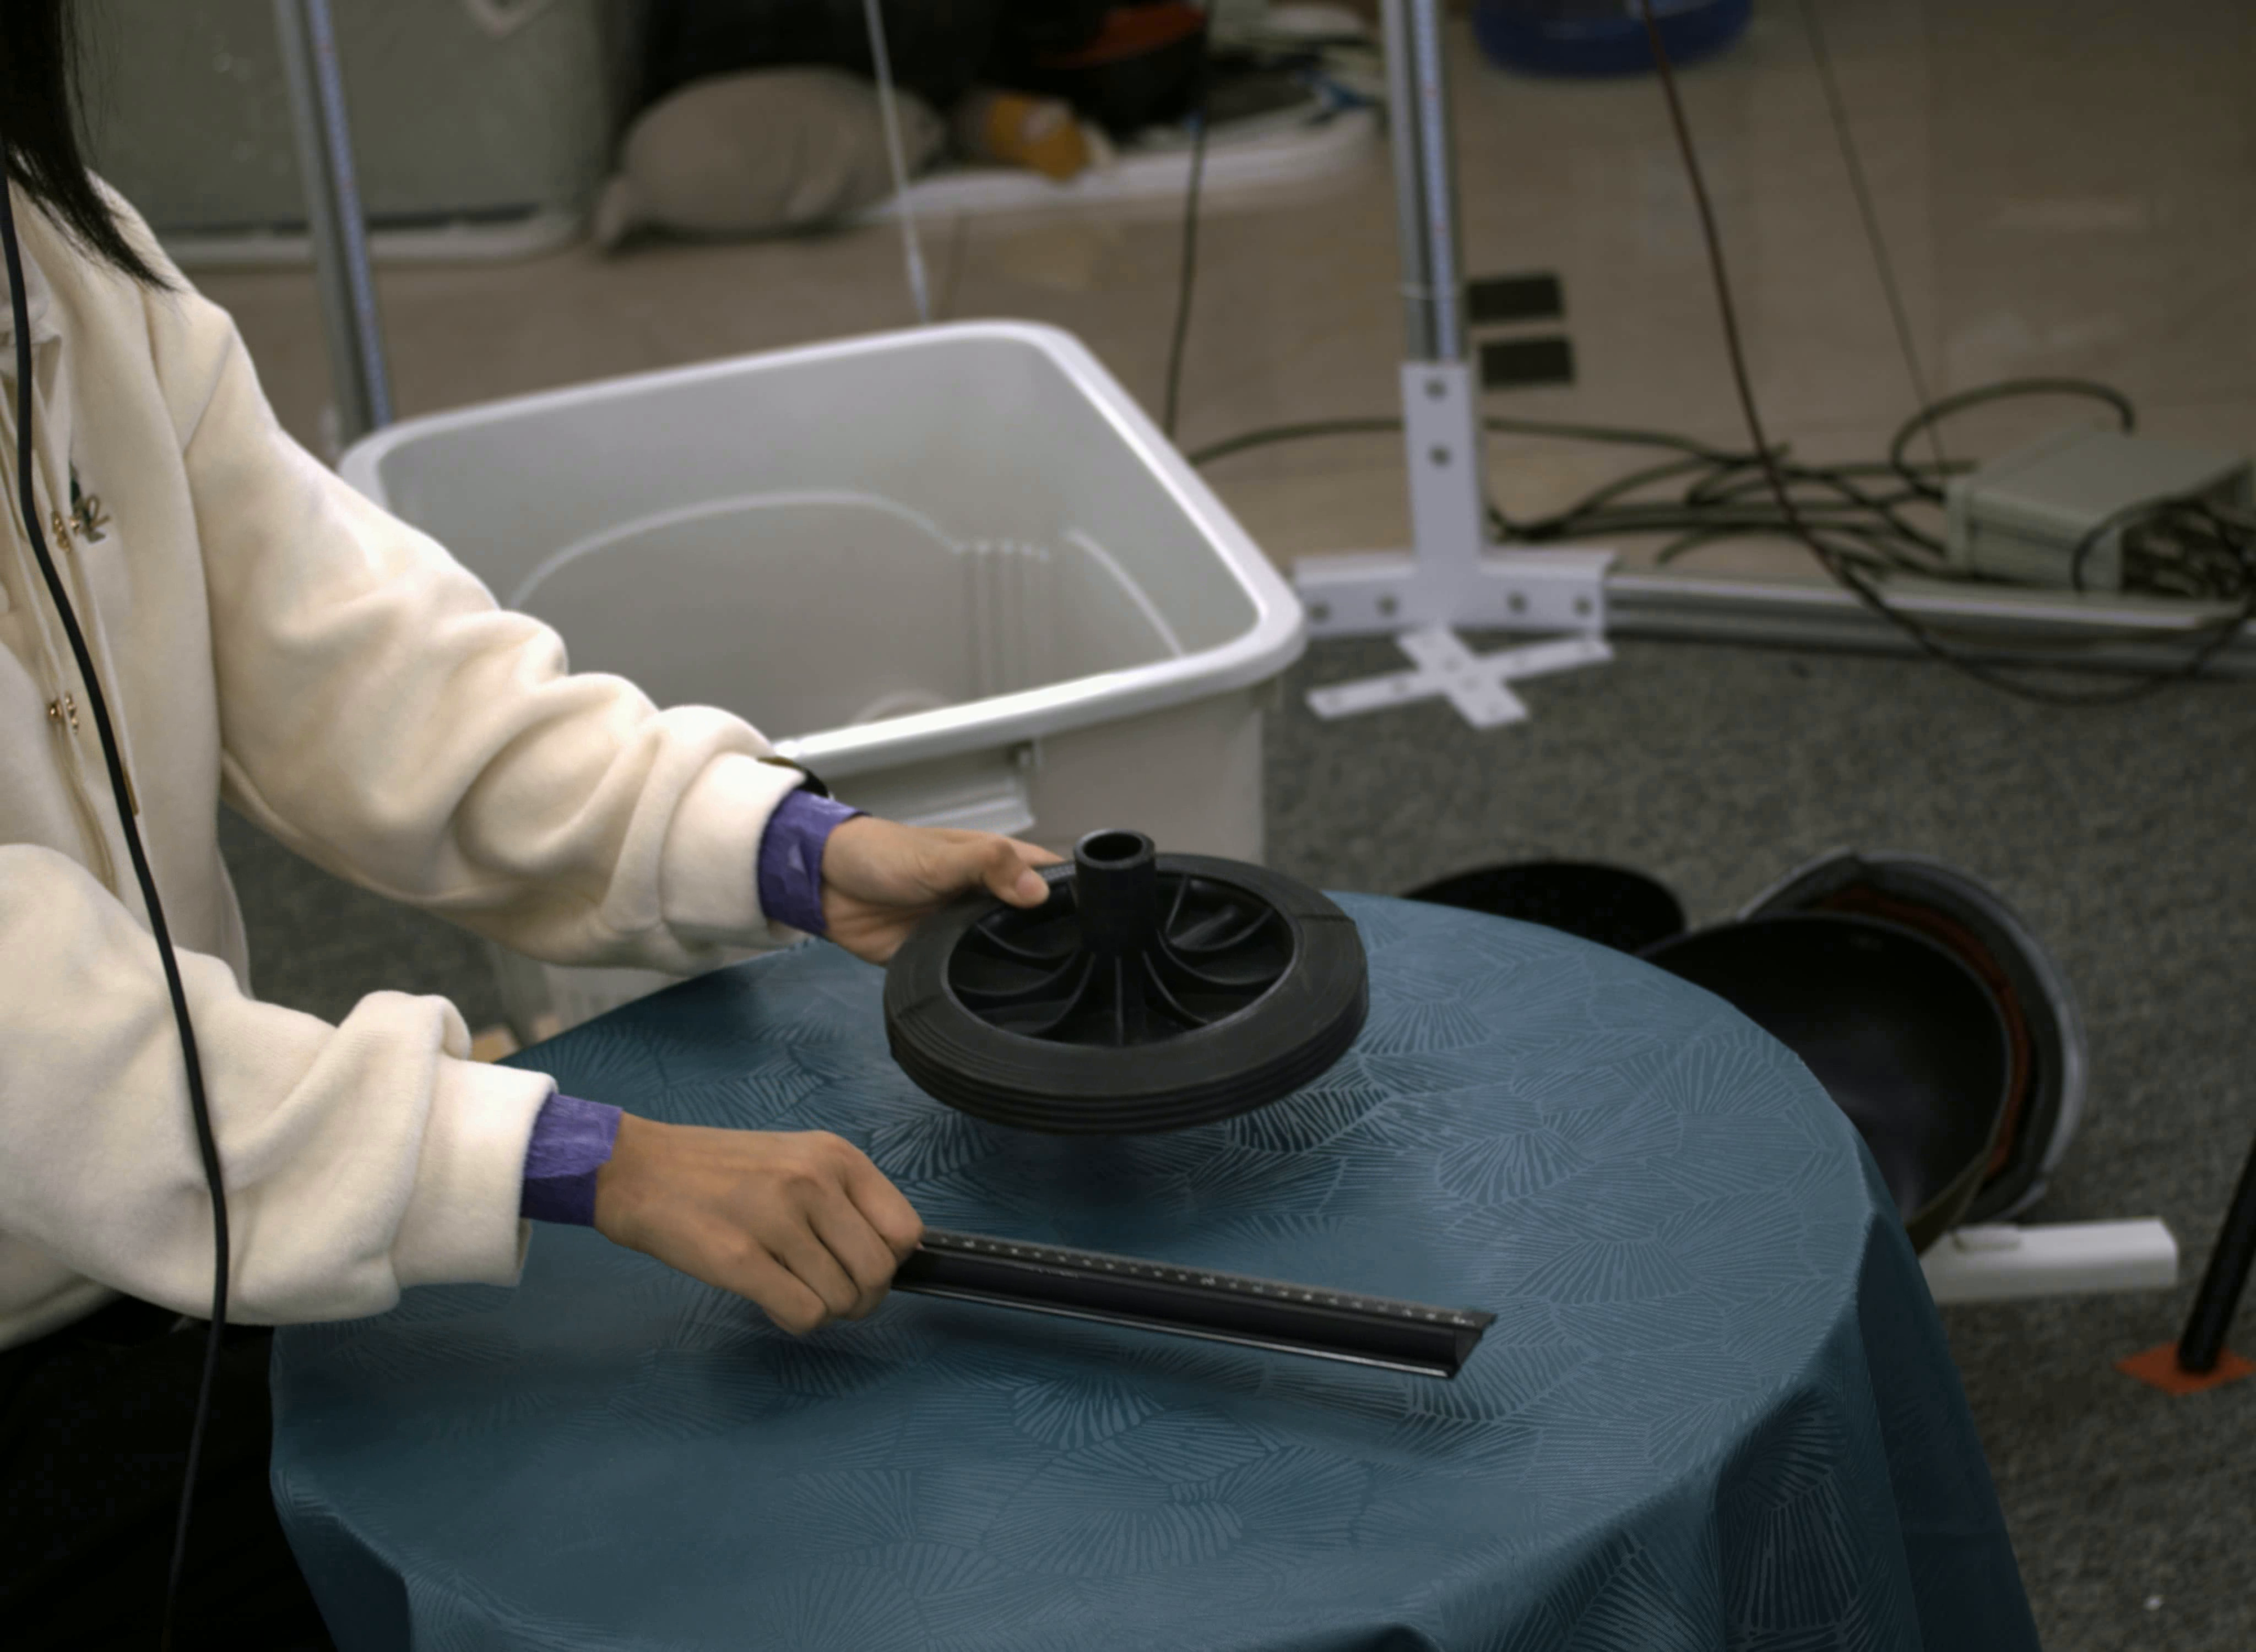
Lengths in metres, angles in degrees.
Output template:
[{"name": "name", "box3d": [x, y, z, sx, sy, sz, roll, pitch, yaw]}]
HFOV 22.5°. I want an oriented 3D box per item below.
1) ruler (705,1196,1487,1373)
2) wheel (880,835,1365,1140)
[{"name": "ruler", "box3d": [-0.016, 0.157, 2.030, 0.311, 0.017, 0.039, 6, 32, 31]}, {"name": "wheel", "box3d": [-0.004, 0.045, 2.170, 0.187, 0.080, 0.187, 6, 31, 19]}]
